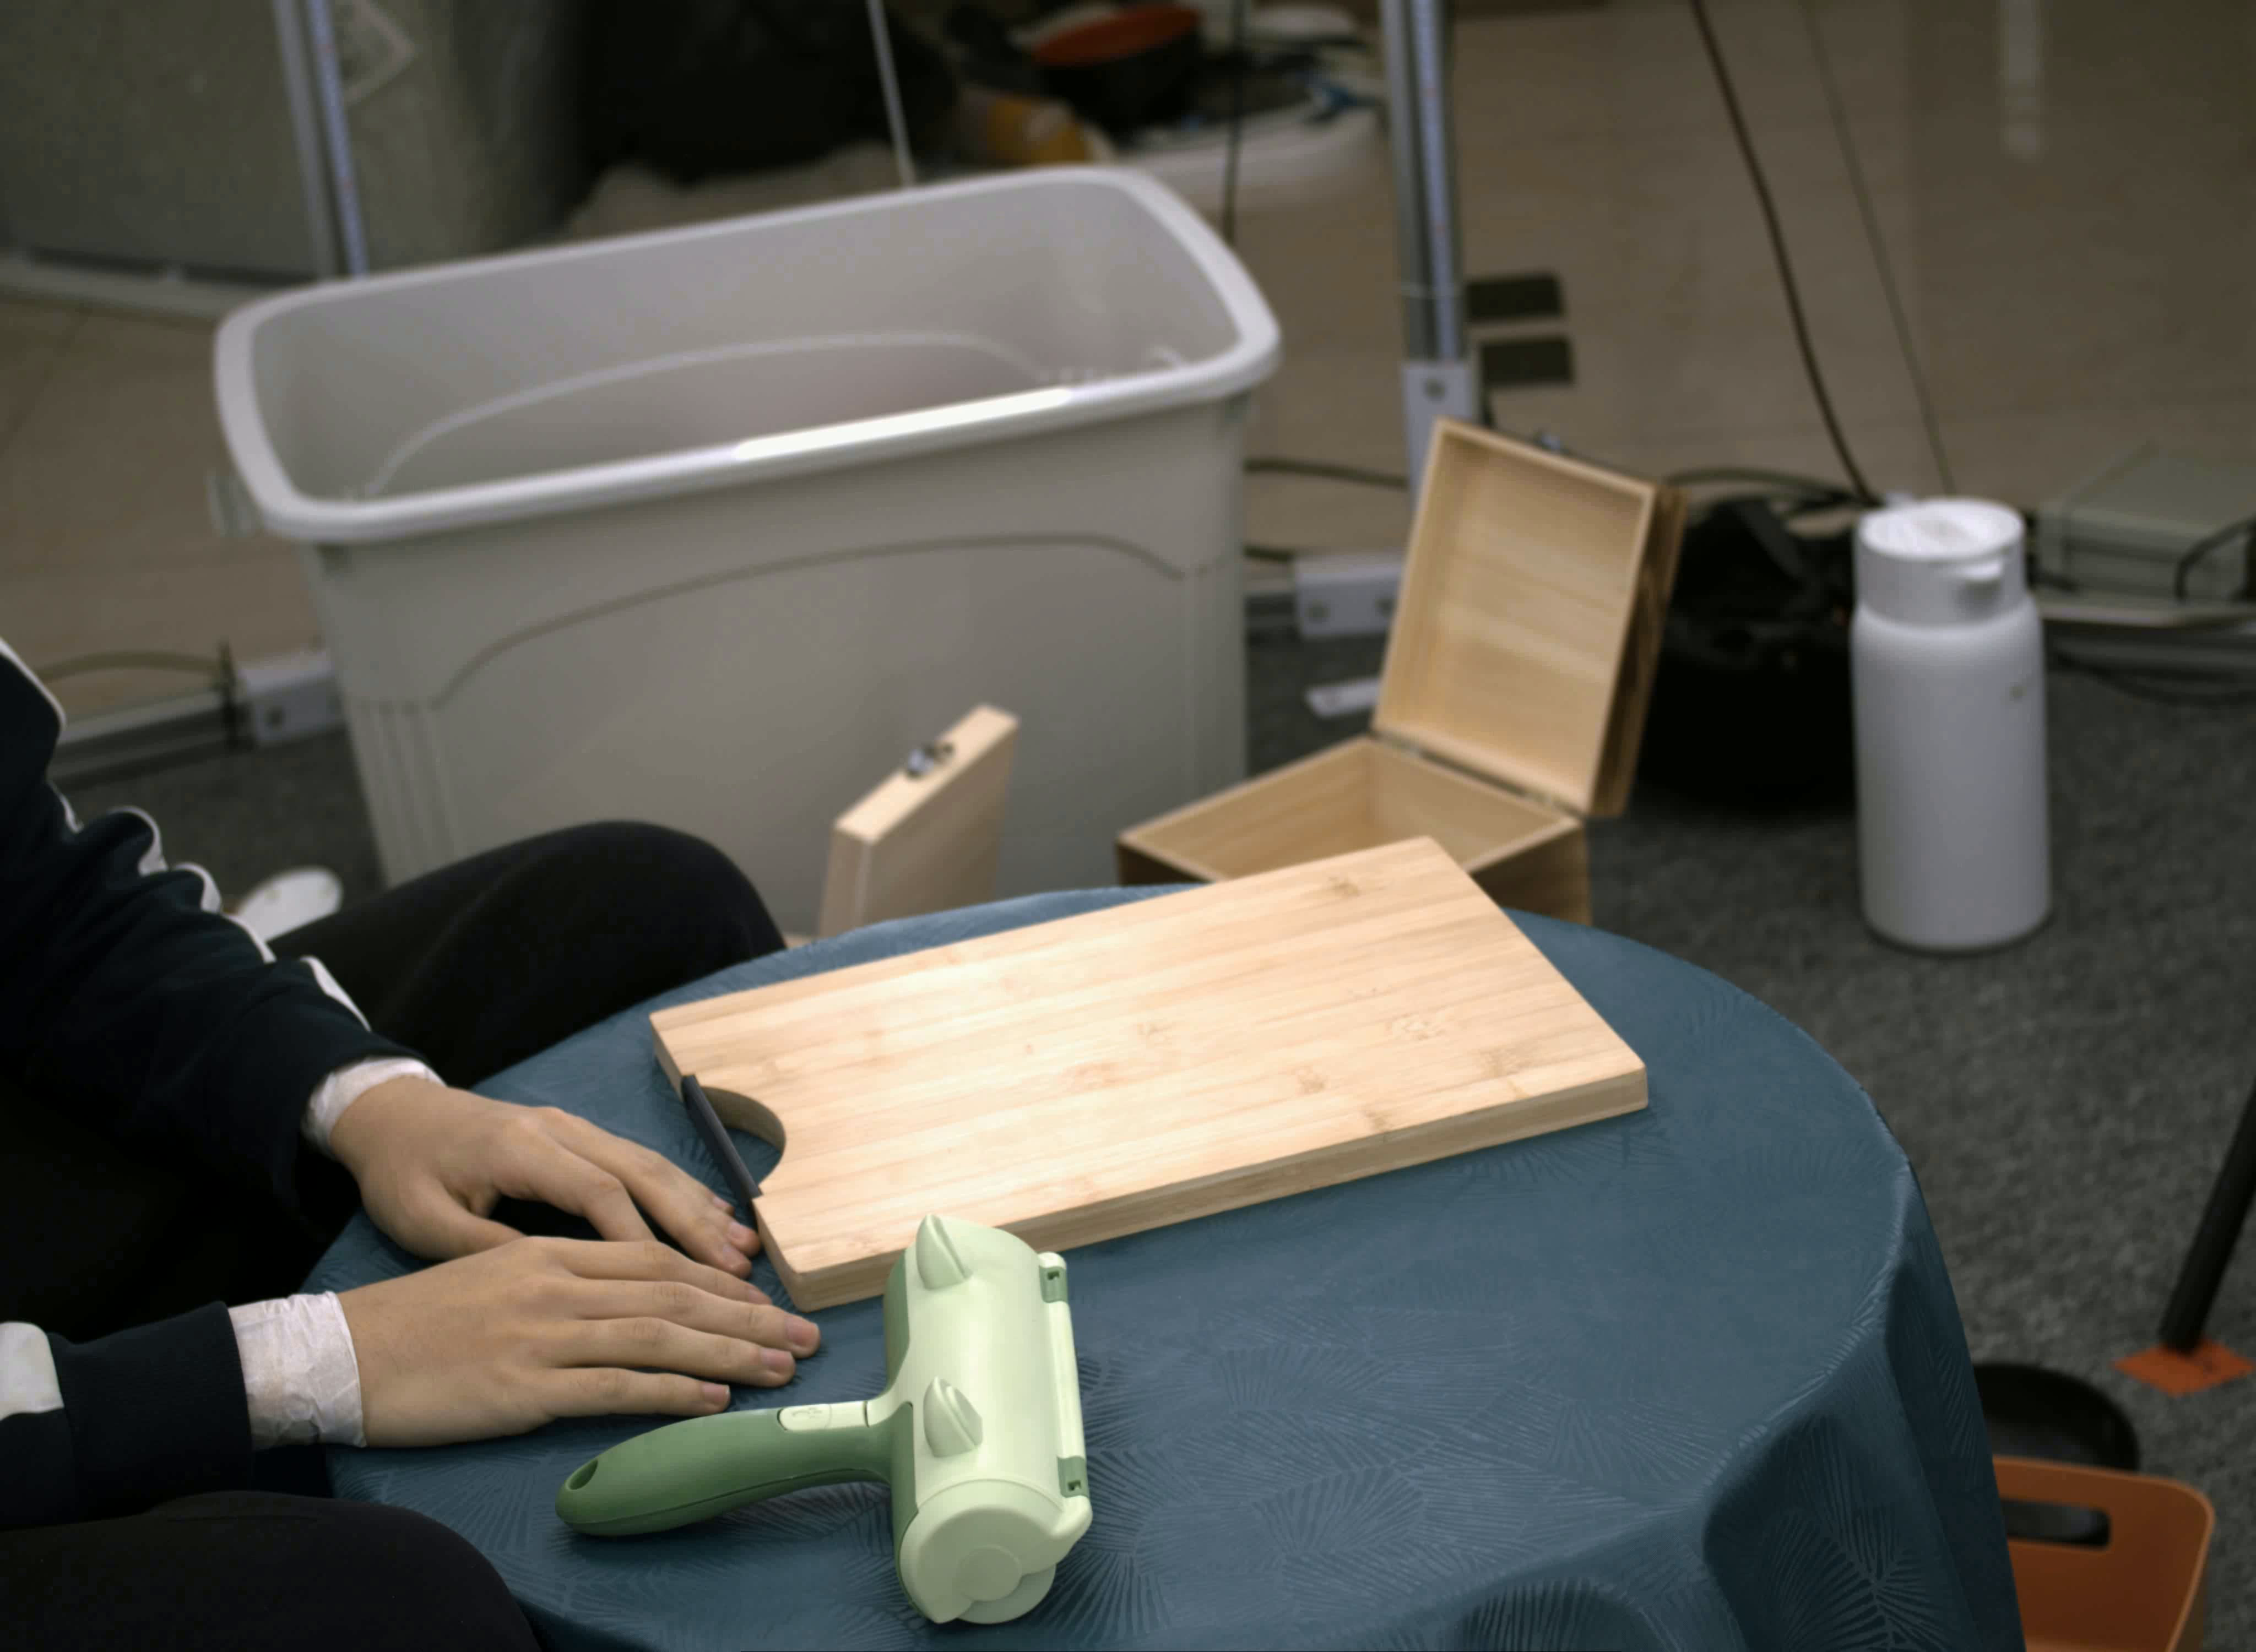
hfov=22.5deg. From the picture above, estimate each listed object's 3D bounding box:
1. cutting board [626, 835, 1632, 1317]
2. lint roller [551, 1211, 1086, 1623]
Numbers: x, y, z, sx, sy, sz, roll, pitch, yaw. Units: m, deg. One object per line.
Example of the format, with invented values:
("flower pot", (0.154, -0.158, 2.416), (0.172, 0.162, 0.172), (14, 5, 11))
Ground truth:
("cutting board", (-0.002, 0.093, 2.224), (0.347, 0.024, 0.247), (-13, 26, -14))
("lint roller", (-0.109, 0.199, 1.950), (0.183, 0.083, 0.195), (-3, 25, -2))
